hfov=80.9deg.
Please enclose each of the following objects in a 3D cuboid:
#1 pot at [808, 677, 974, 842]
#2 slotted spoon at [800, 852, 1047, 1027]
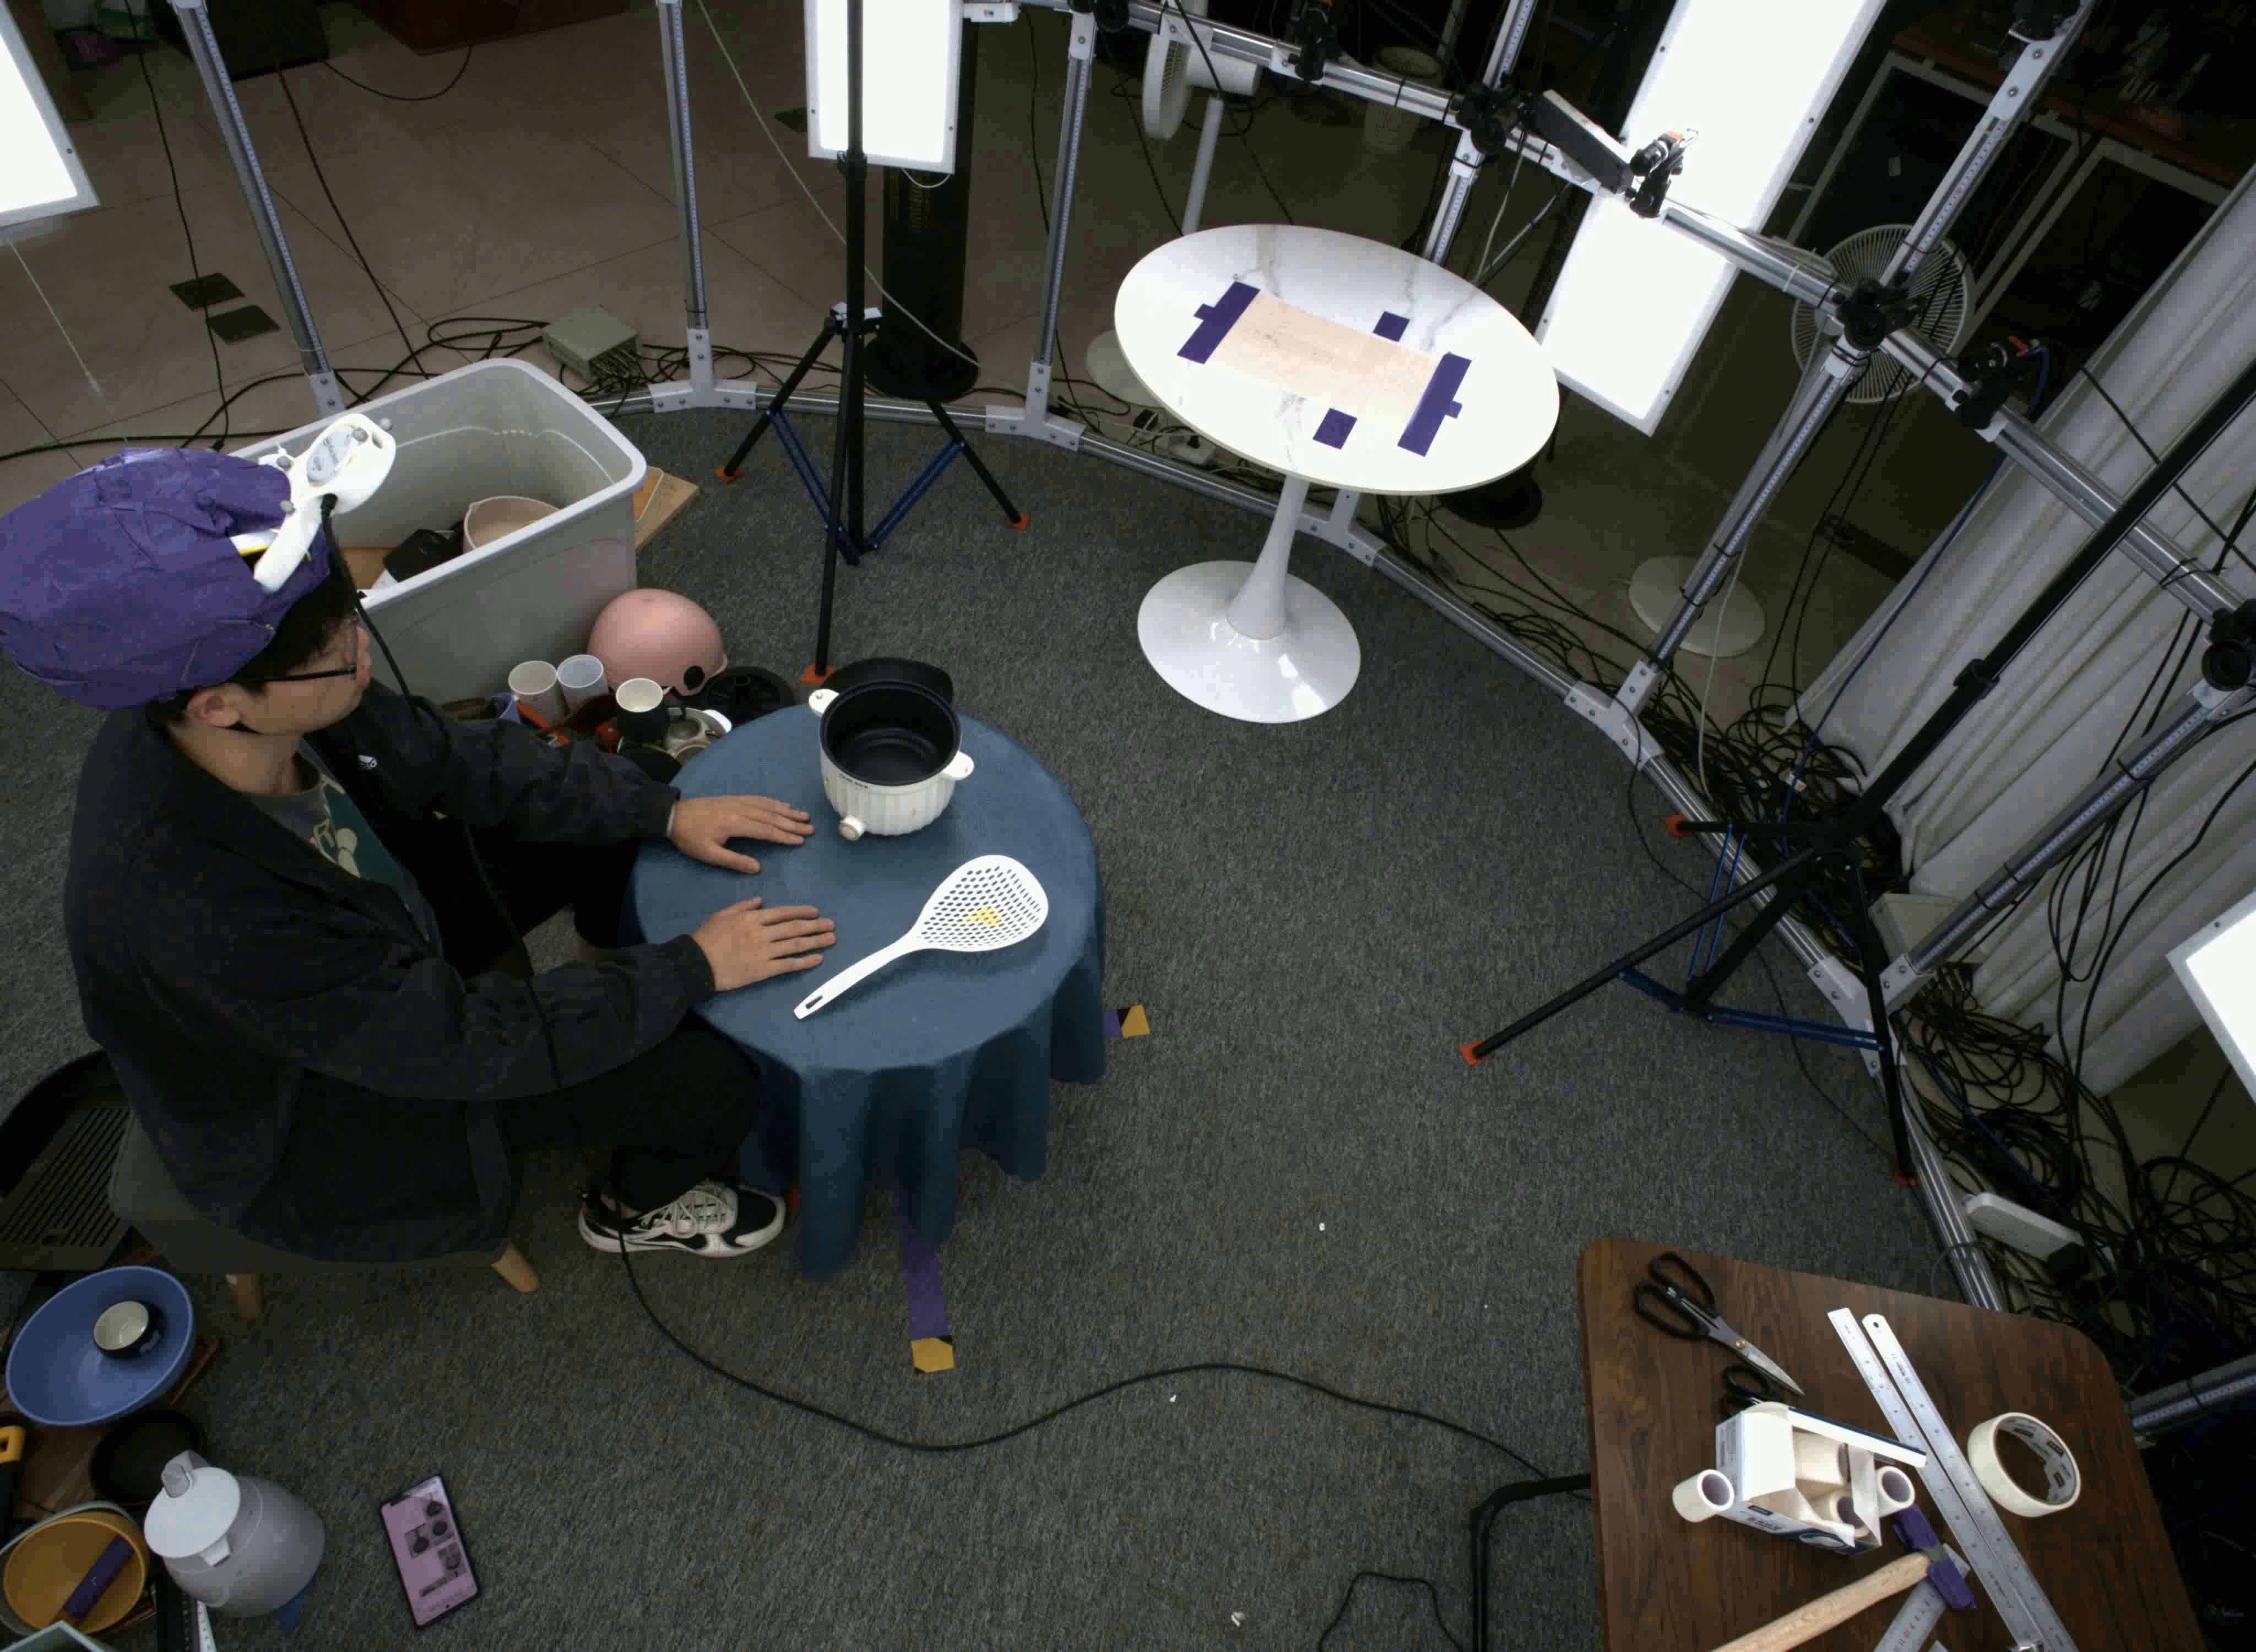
[{"bbox_3d":[-0.318,-0.080,1.722,0.236,0.146,0.189,24,49,8],"label":"pot"},{"bbox_3d":[-0.260,0.147,1.629,0.349,0.051,0.134,-27,66,-30],"label":"slotted spoon"}]
